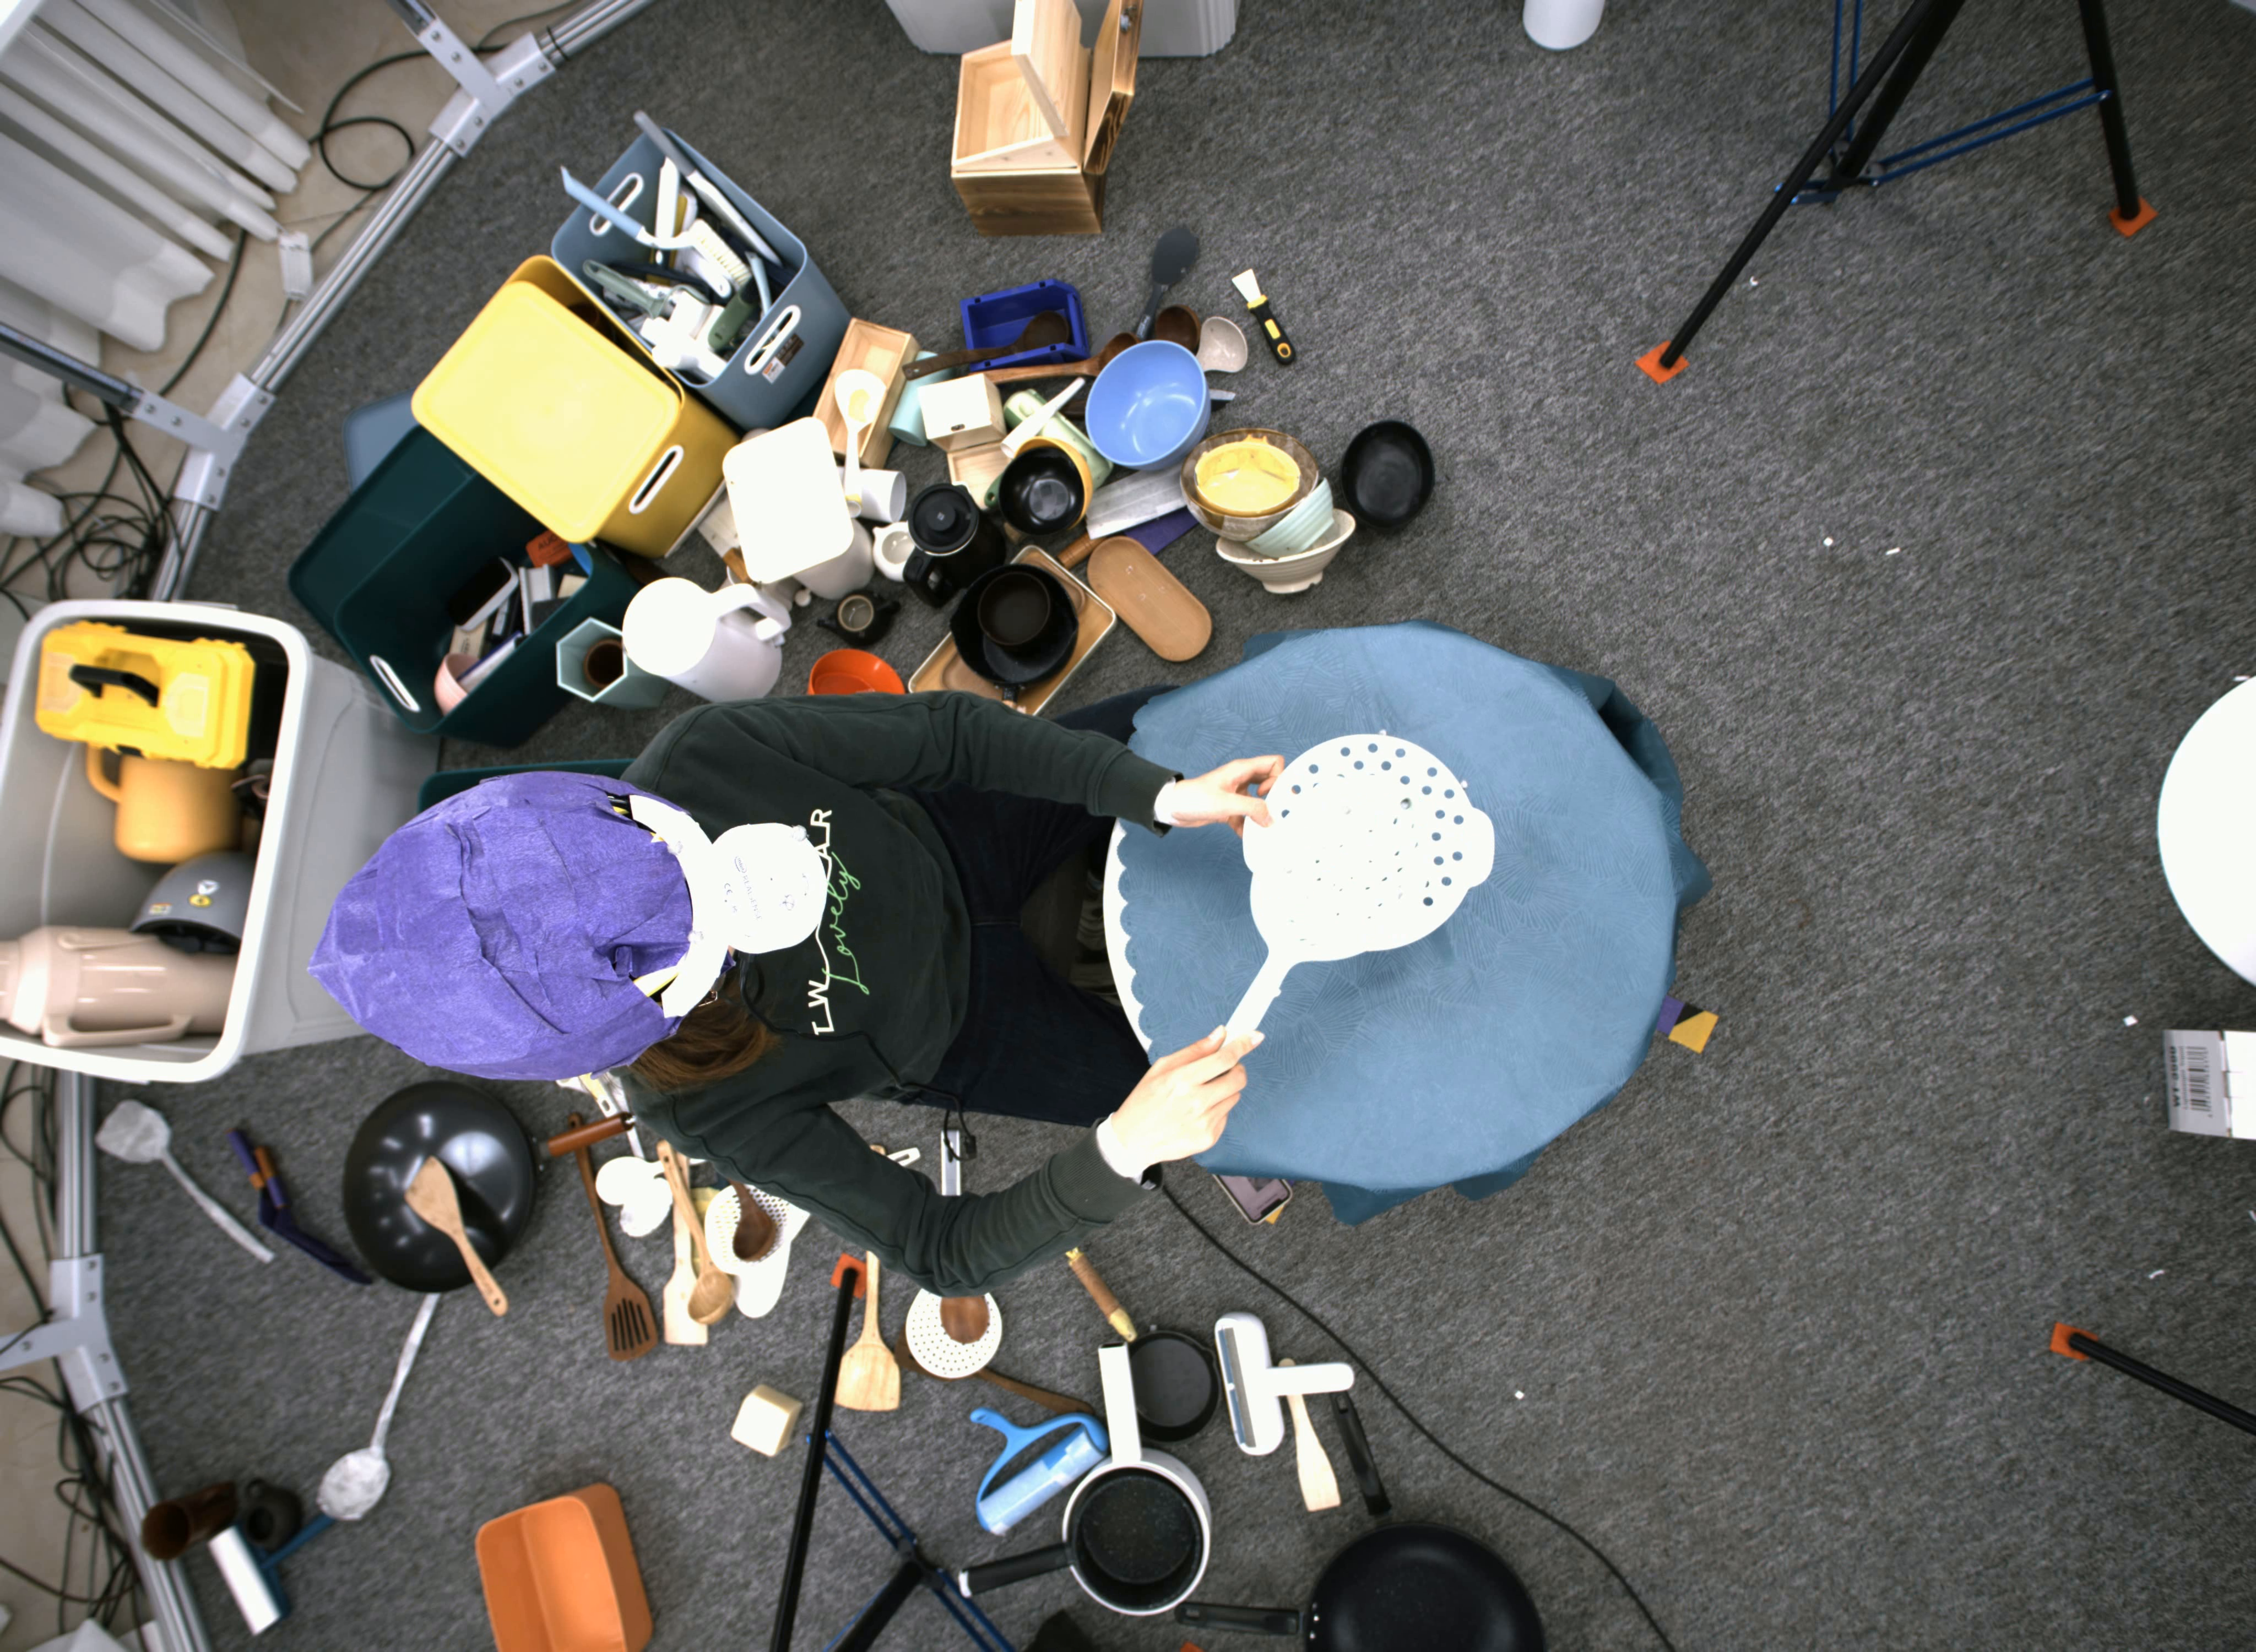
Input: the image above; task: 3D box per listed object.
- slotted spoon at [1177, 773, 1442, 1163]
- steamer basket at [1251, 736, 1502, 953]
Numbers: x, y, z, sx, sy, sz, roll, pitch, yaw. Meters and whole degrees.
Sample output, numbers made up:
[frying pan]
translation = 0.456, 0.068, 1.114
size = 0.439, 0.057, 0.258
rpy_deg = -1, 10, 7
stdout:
[slotted spoon]
translation = 0.135, 0.117, 1.147
size = 0.356, 0.076, 0.168
rpy_deg = -52, 36, -9
[steamer basket]
translation = 0.235, 0.014, 1.304
size = 0.231, 0.068, 0.203
rpy_deg = 1, 98, 14
